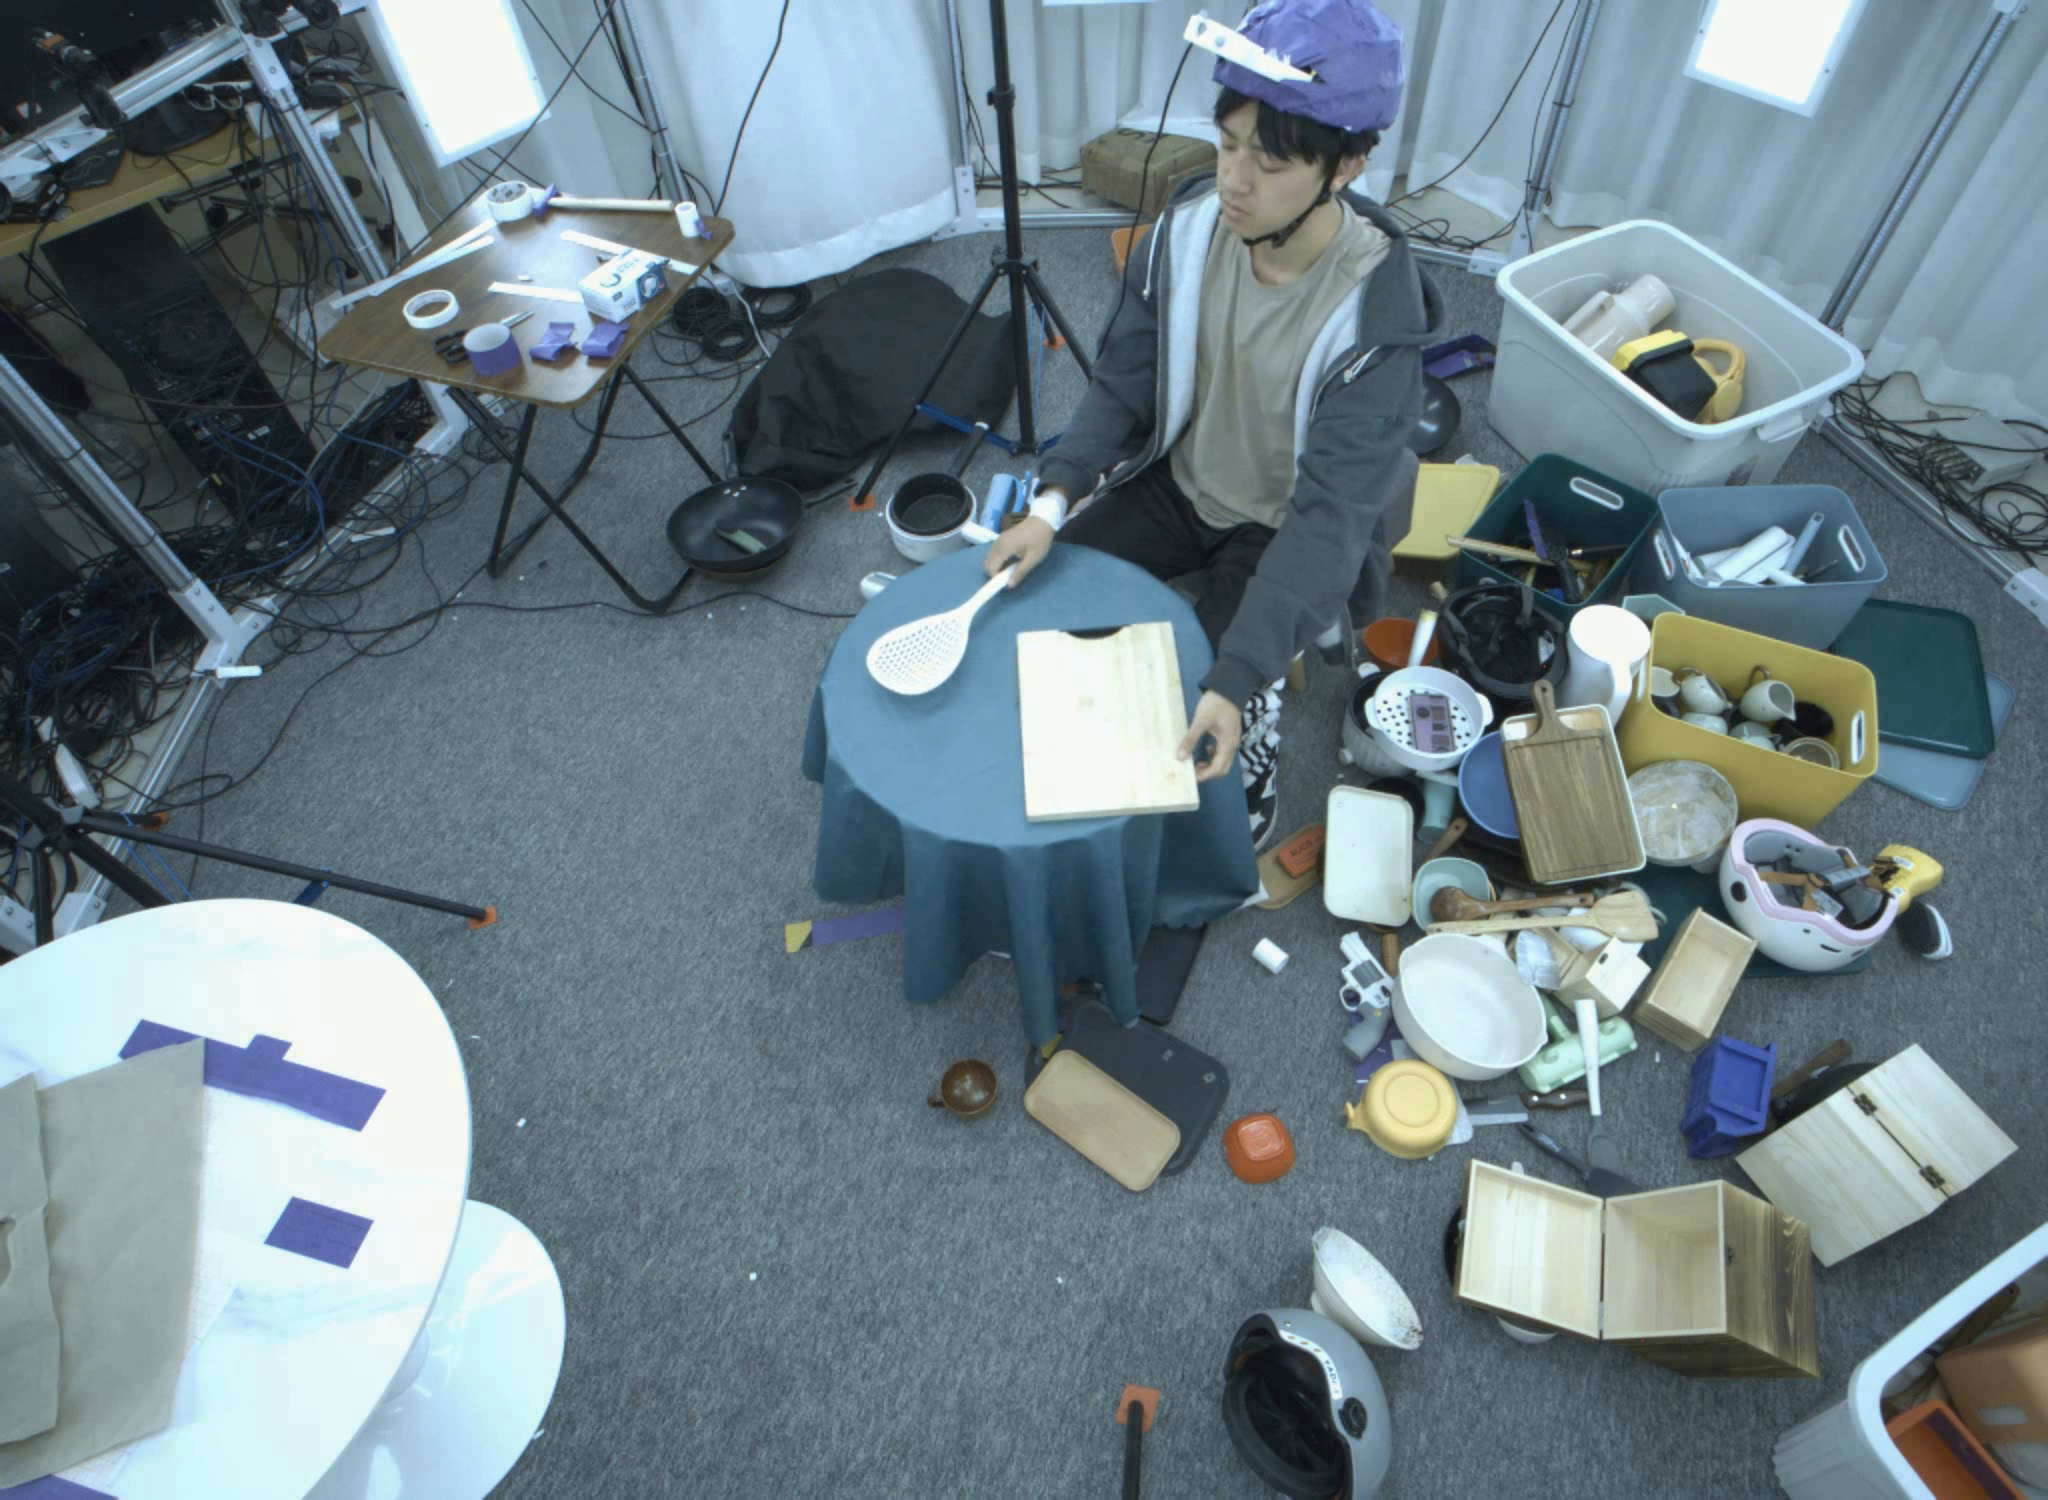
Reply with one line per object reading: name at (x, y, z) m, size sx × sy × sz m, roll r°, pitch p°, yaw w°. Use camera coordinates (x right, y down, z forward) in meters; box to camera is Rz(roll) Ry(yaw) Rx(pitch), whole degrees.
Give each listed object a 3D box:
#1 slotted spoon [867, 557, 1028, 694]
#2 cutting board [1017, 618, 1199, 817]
slotted spoon at (-0.099, -0.203, 1.908) m, size 0.134 × 0.051 × 0.349 m, roll 31°, pitch 63°, yaw 23°
cutting board at (0.116, -0.053, 1.813) m, size 0.251 × 0.024 × 0.344 m, roll -4°, pitch 54°, yaw -1°
